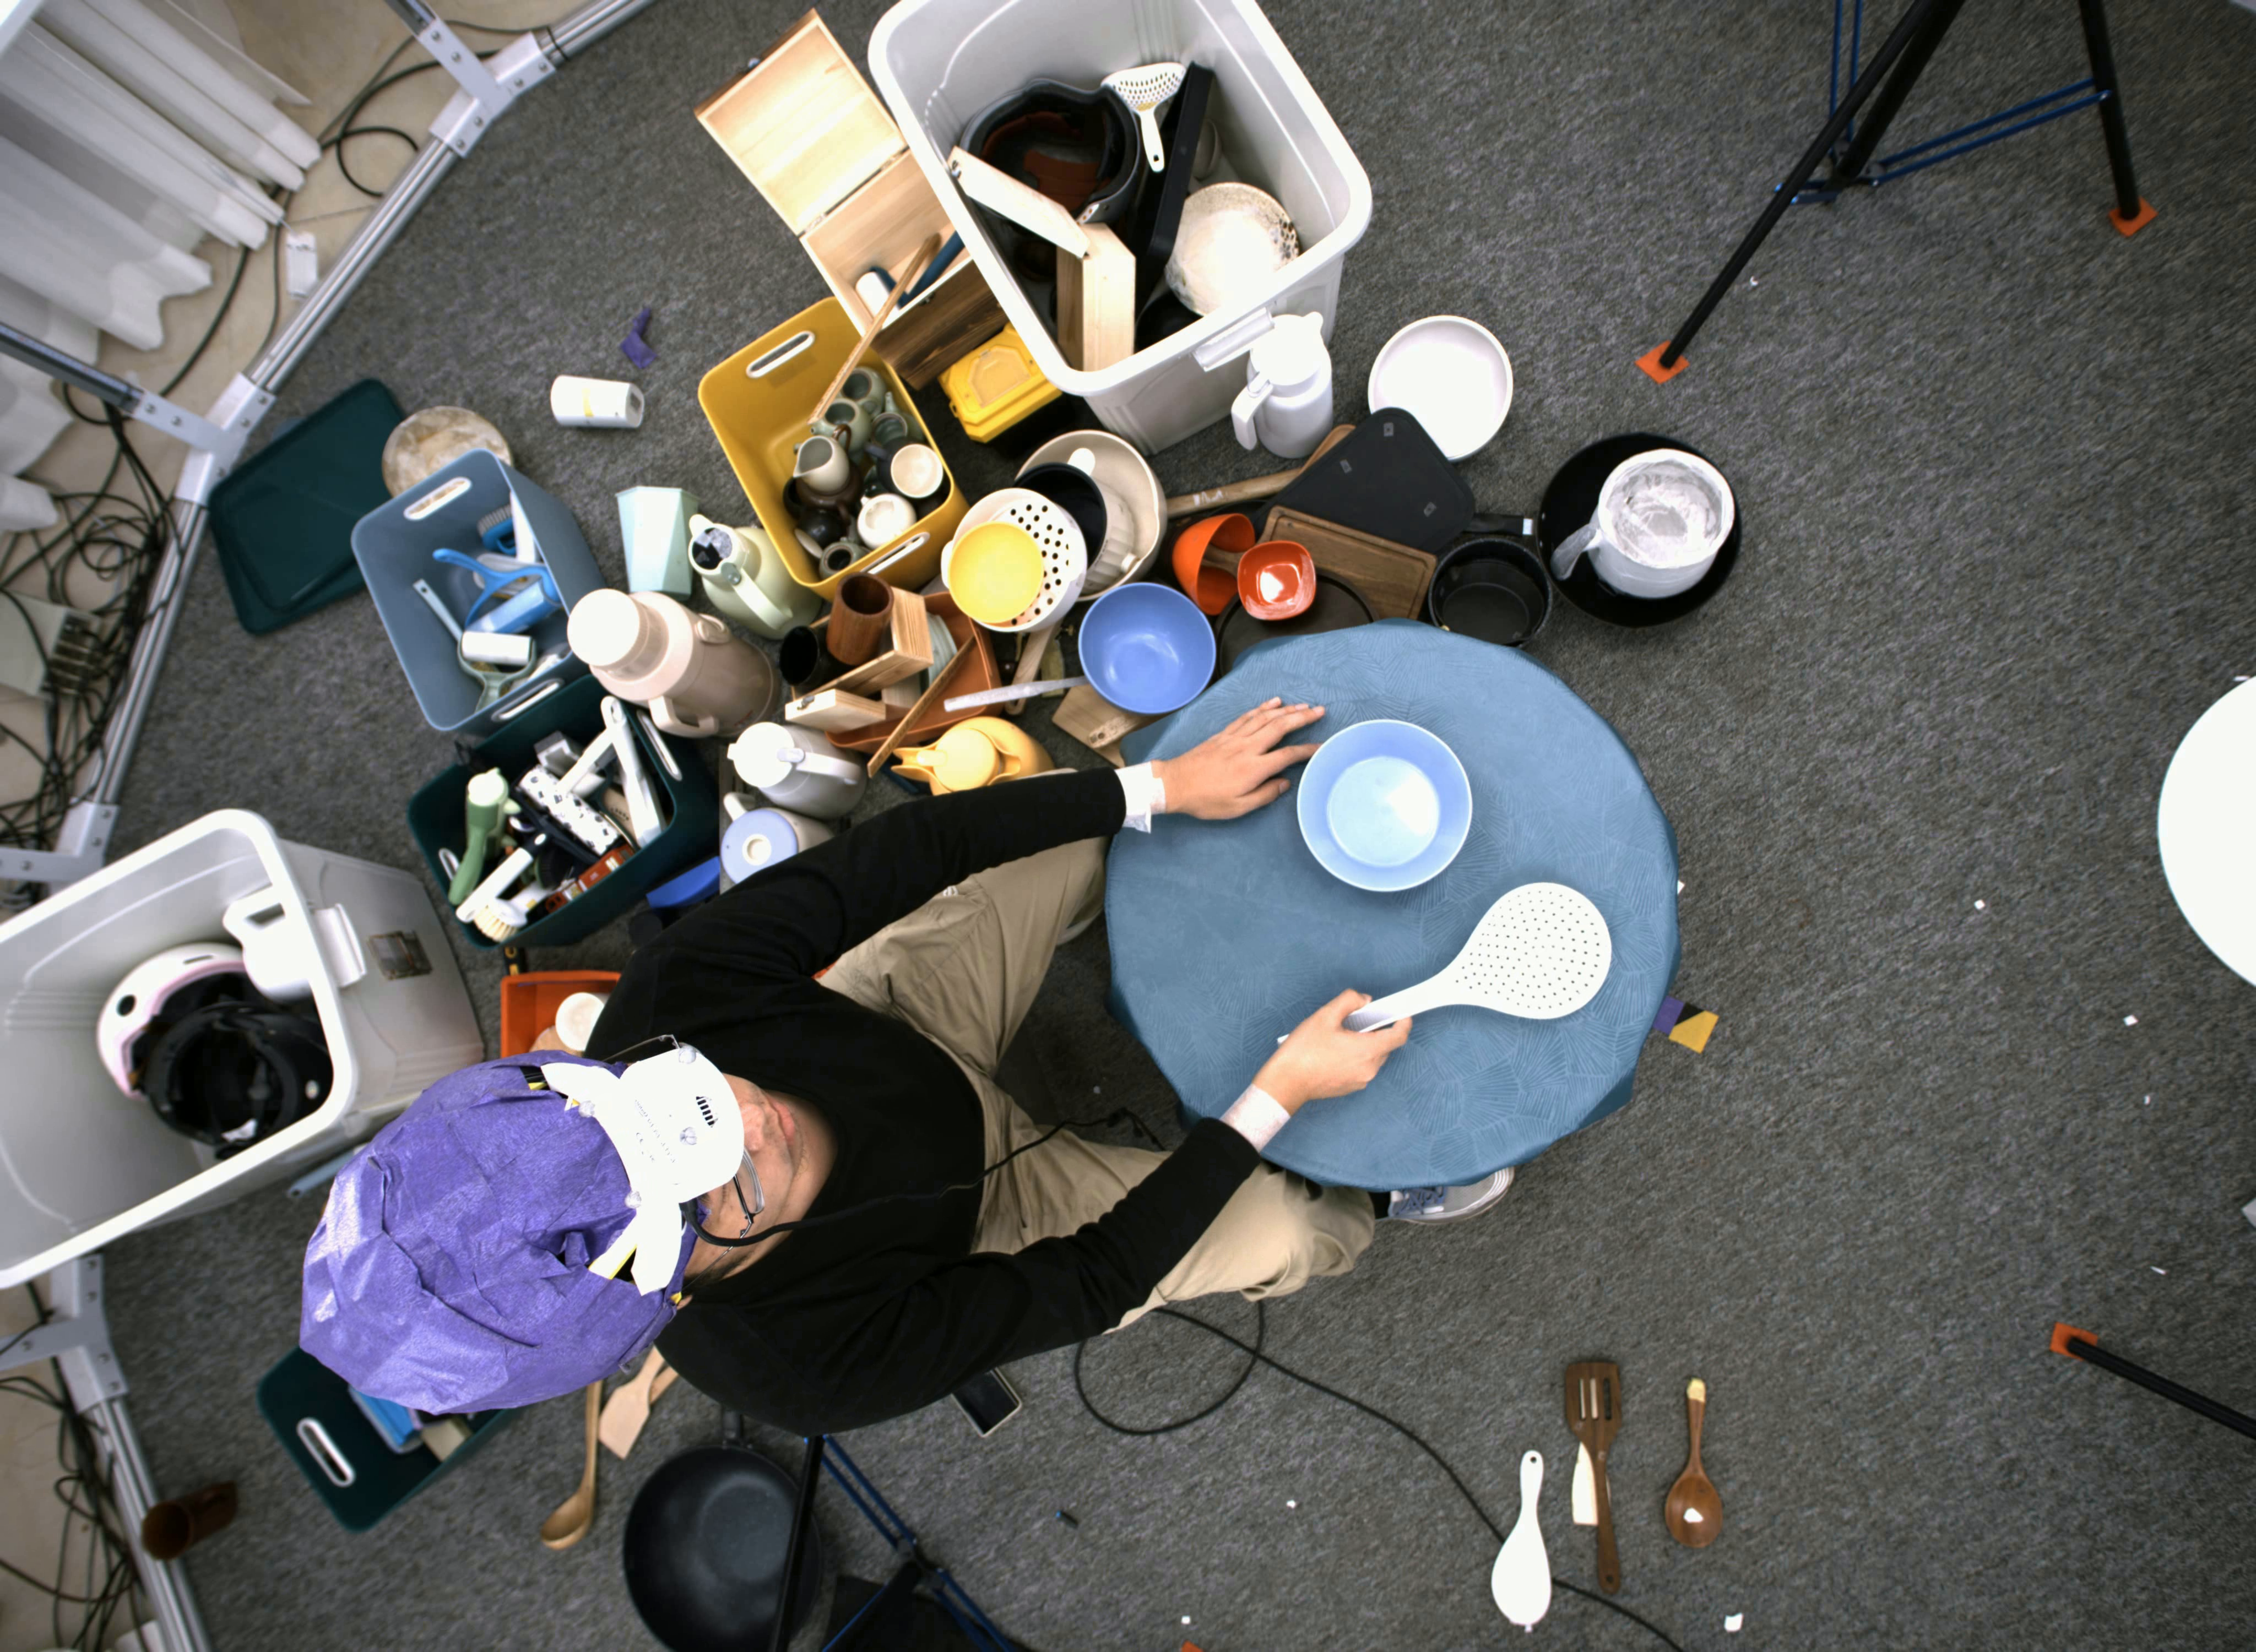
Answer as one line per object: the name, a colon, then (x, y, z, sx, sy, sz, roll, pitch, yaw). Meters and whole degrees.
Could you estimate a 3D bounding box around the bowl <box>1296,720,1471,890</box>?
bowl: (0.264, -0.020, 1.431, 0.177, 0.070, 0.175, -1, 86, 11)

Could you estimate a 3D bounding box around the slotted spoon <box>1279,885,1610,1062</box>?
slotted spoon: (0.319, 0.165, 1.402, 0.350, 0.045, 0.136, -22, 93, -1)
